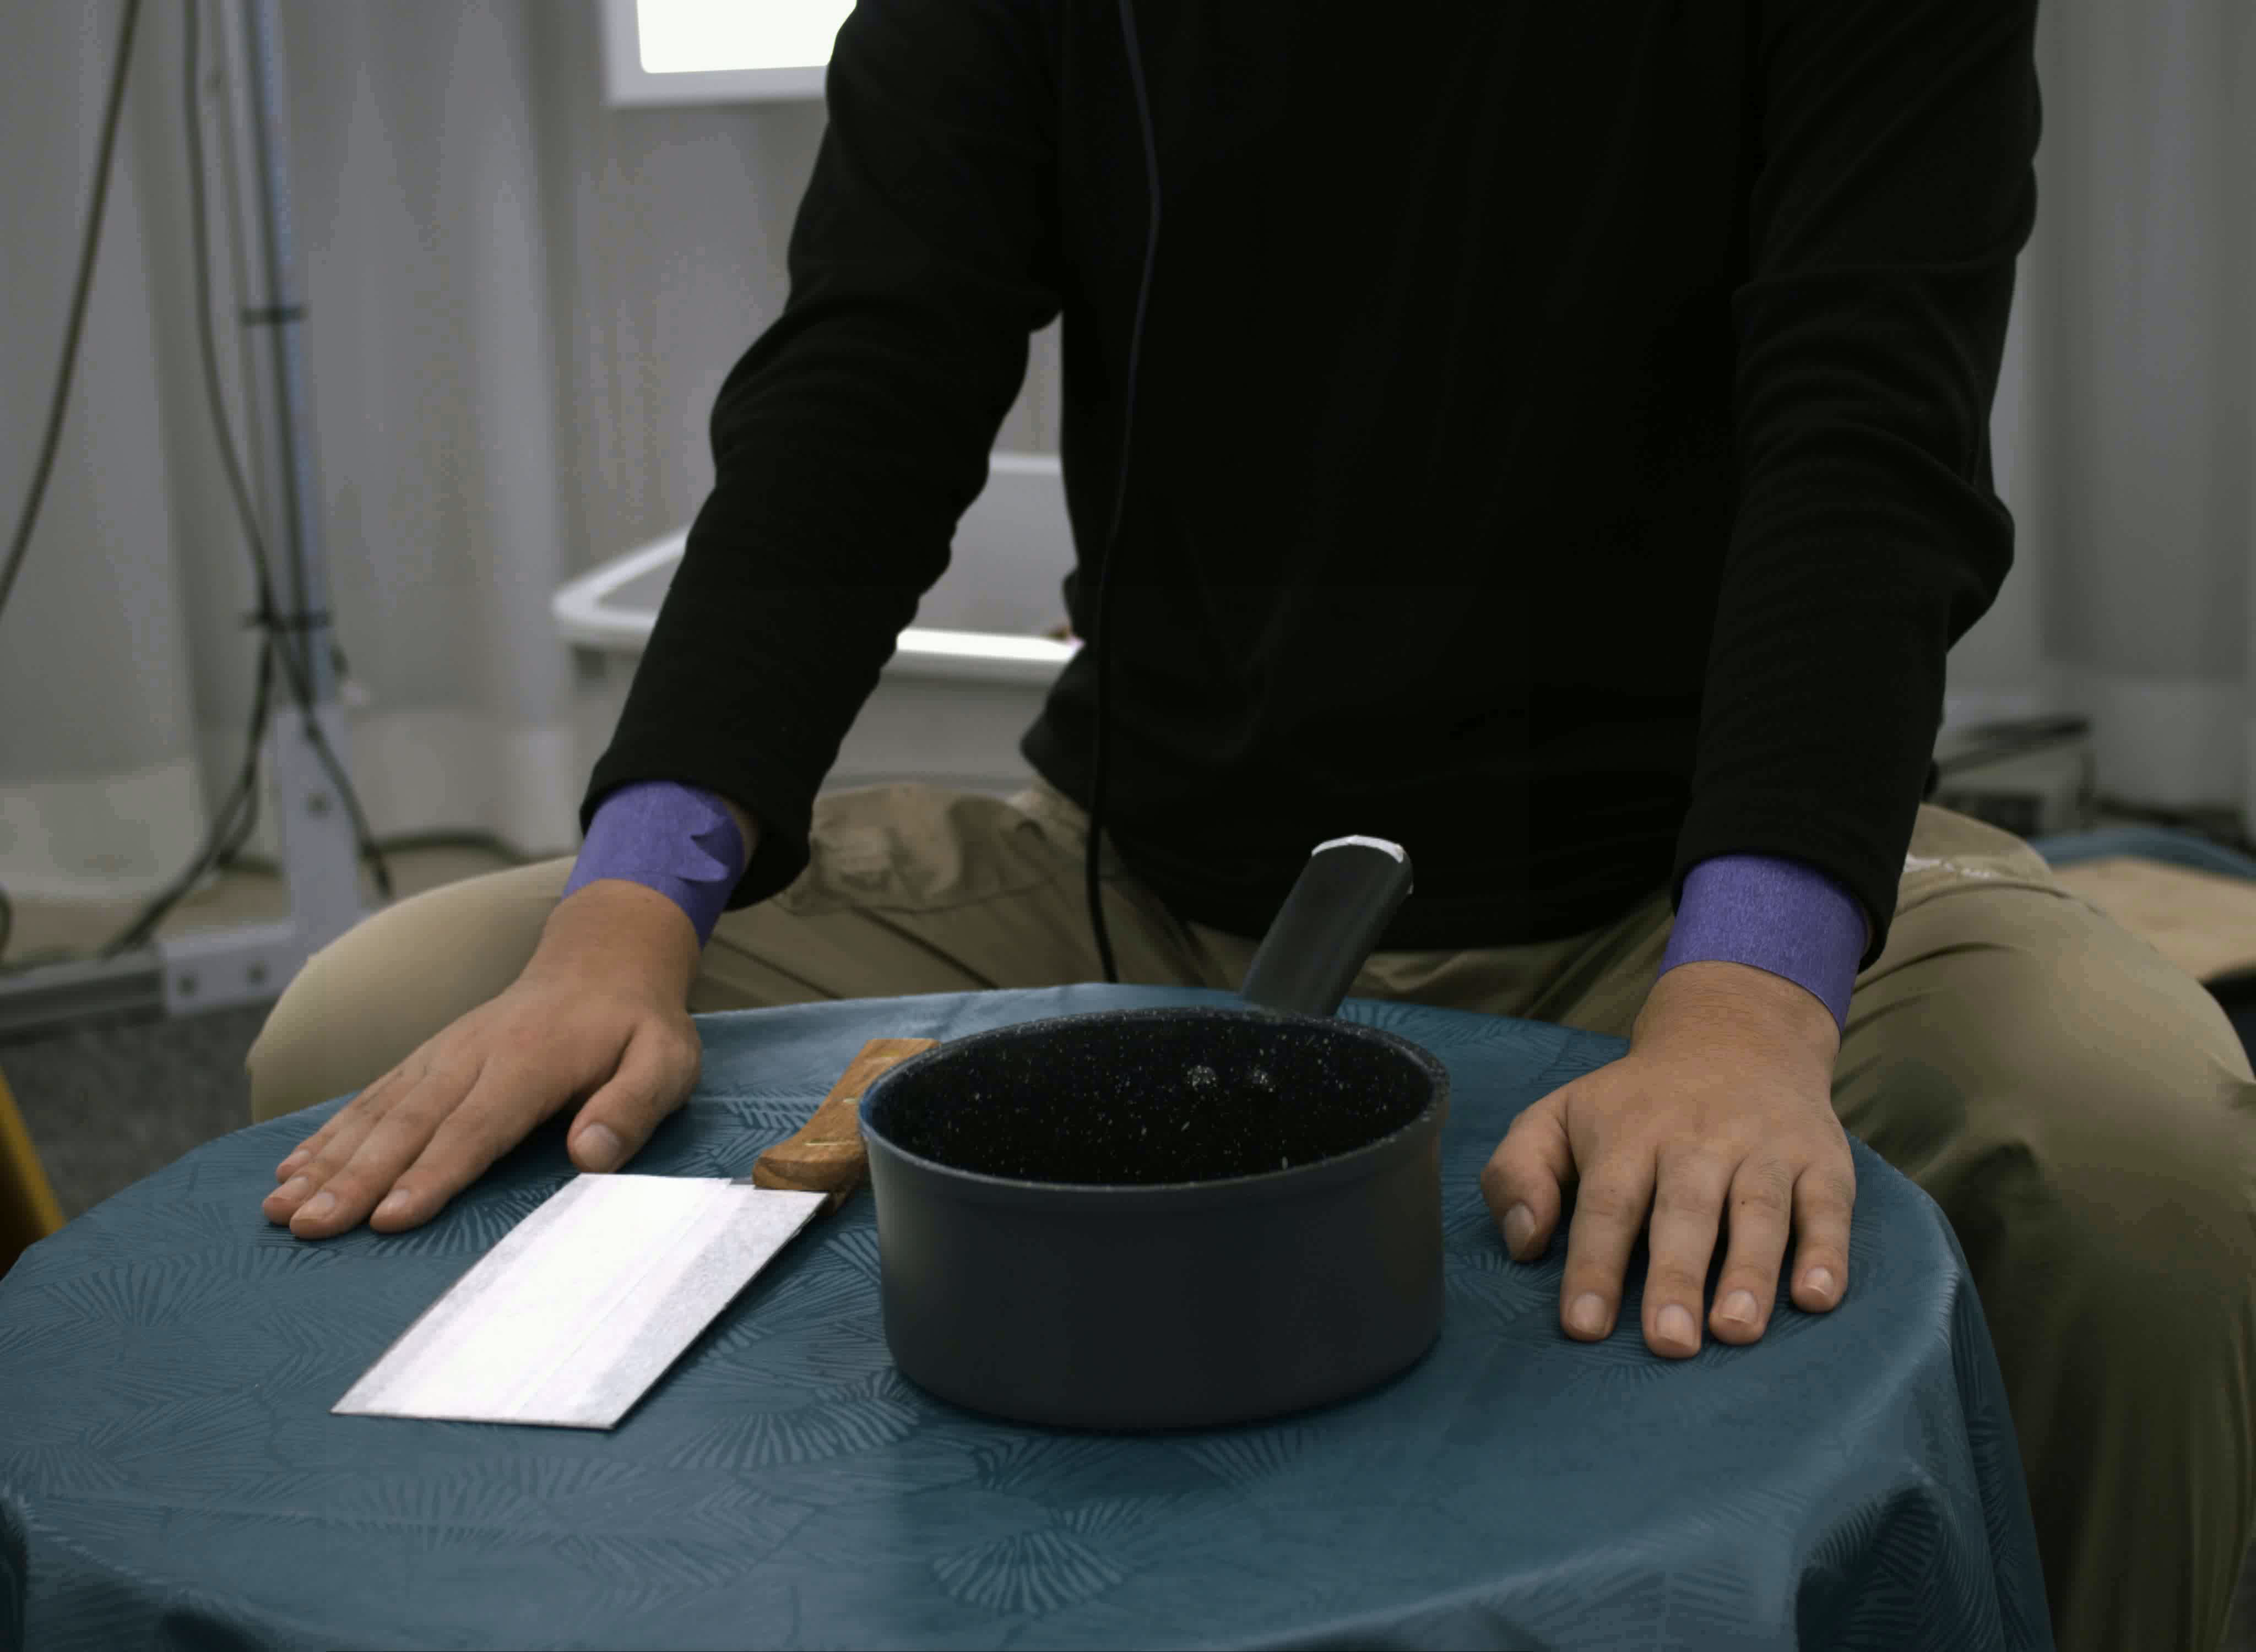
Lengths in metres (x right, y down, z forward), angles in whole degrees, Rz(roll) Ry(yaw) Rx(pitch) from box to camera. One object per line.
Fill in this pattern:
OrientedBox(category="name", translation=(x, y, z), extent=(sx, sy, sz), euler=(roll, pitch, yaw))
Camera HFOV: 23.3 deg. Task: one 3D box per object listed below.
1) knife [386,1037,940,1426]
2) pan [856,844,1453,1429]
OrientedBox(category="knife", translation=(-0.141, 0.123, 1.682), extent=(0.093, 0.021, 0.307), euler=(1, 17, 17))
OrientedBox(category="pan", translation=(0.035, 0.090, 1.645), extent=(0.172, 0.086, 0.330), euler=(3, 16, 19))
